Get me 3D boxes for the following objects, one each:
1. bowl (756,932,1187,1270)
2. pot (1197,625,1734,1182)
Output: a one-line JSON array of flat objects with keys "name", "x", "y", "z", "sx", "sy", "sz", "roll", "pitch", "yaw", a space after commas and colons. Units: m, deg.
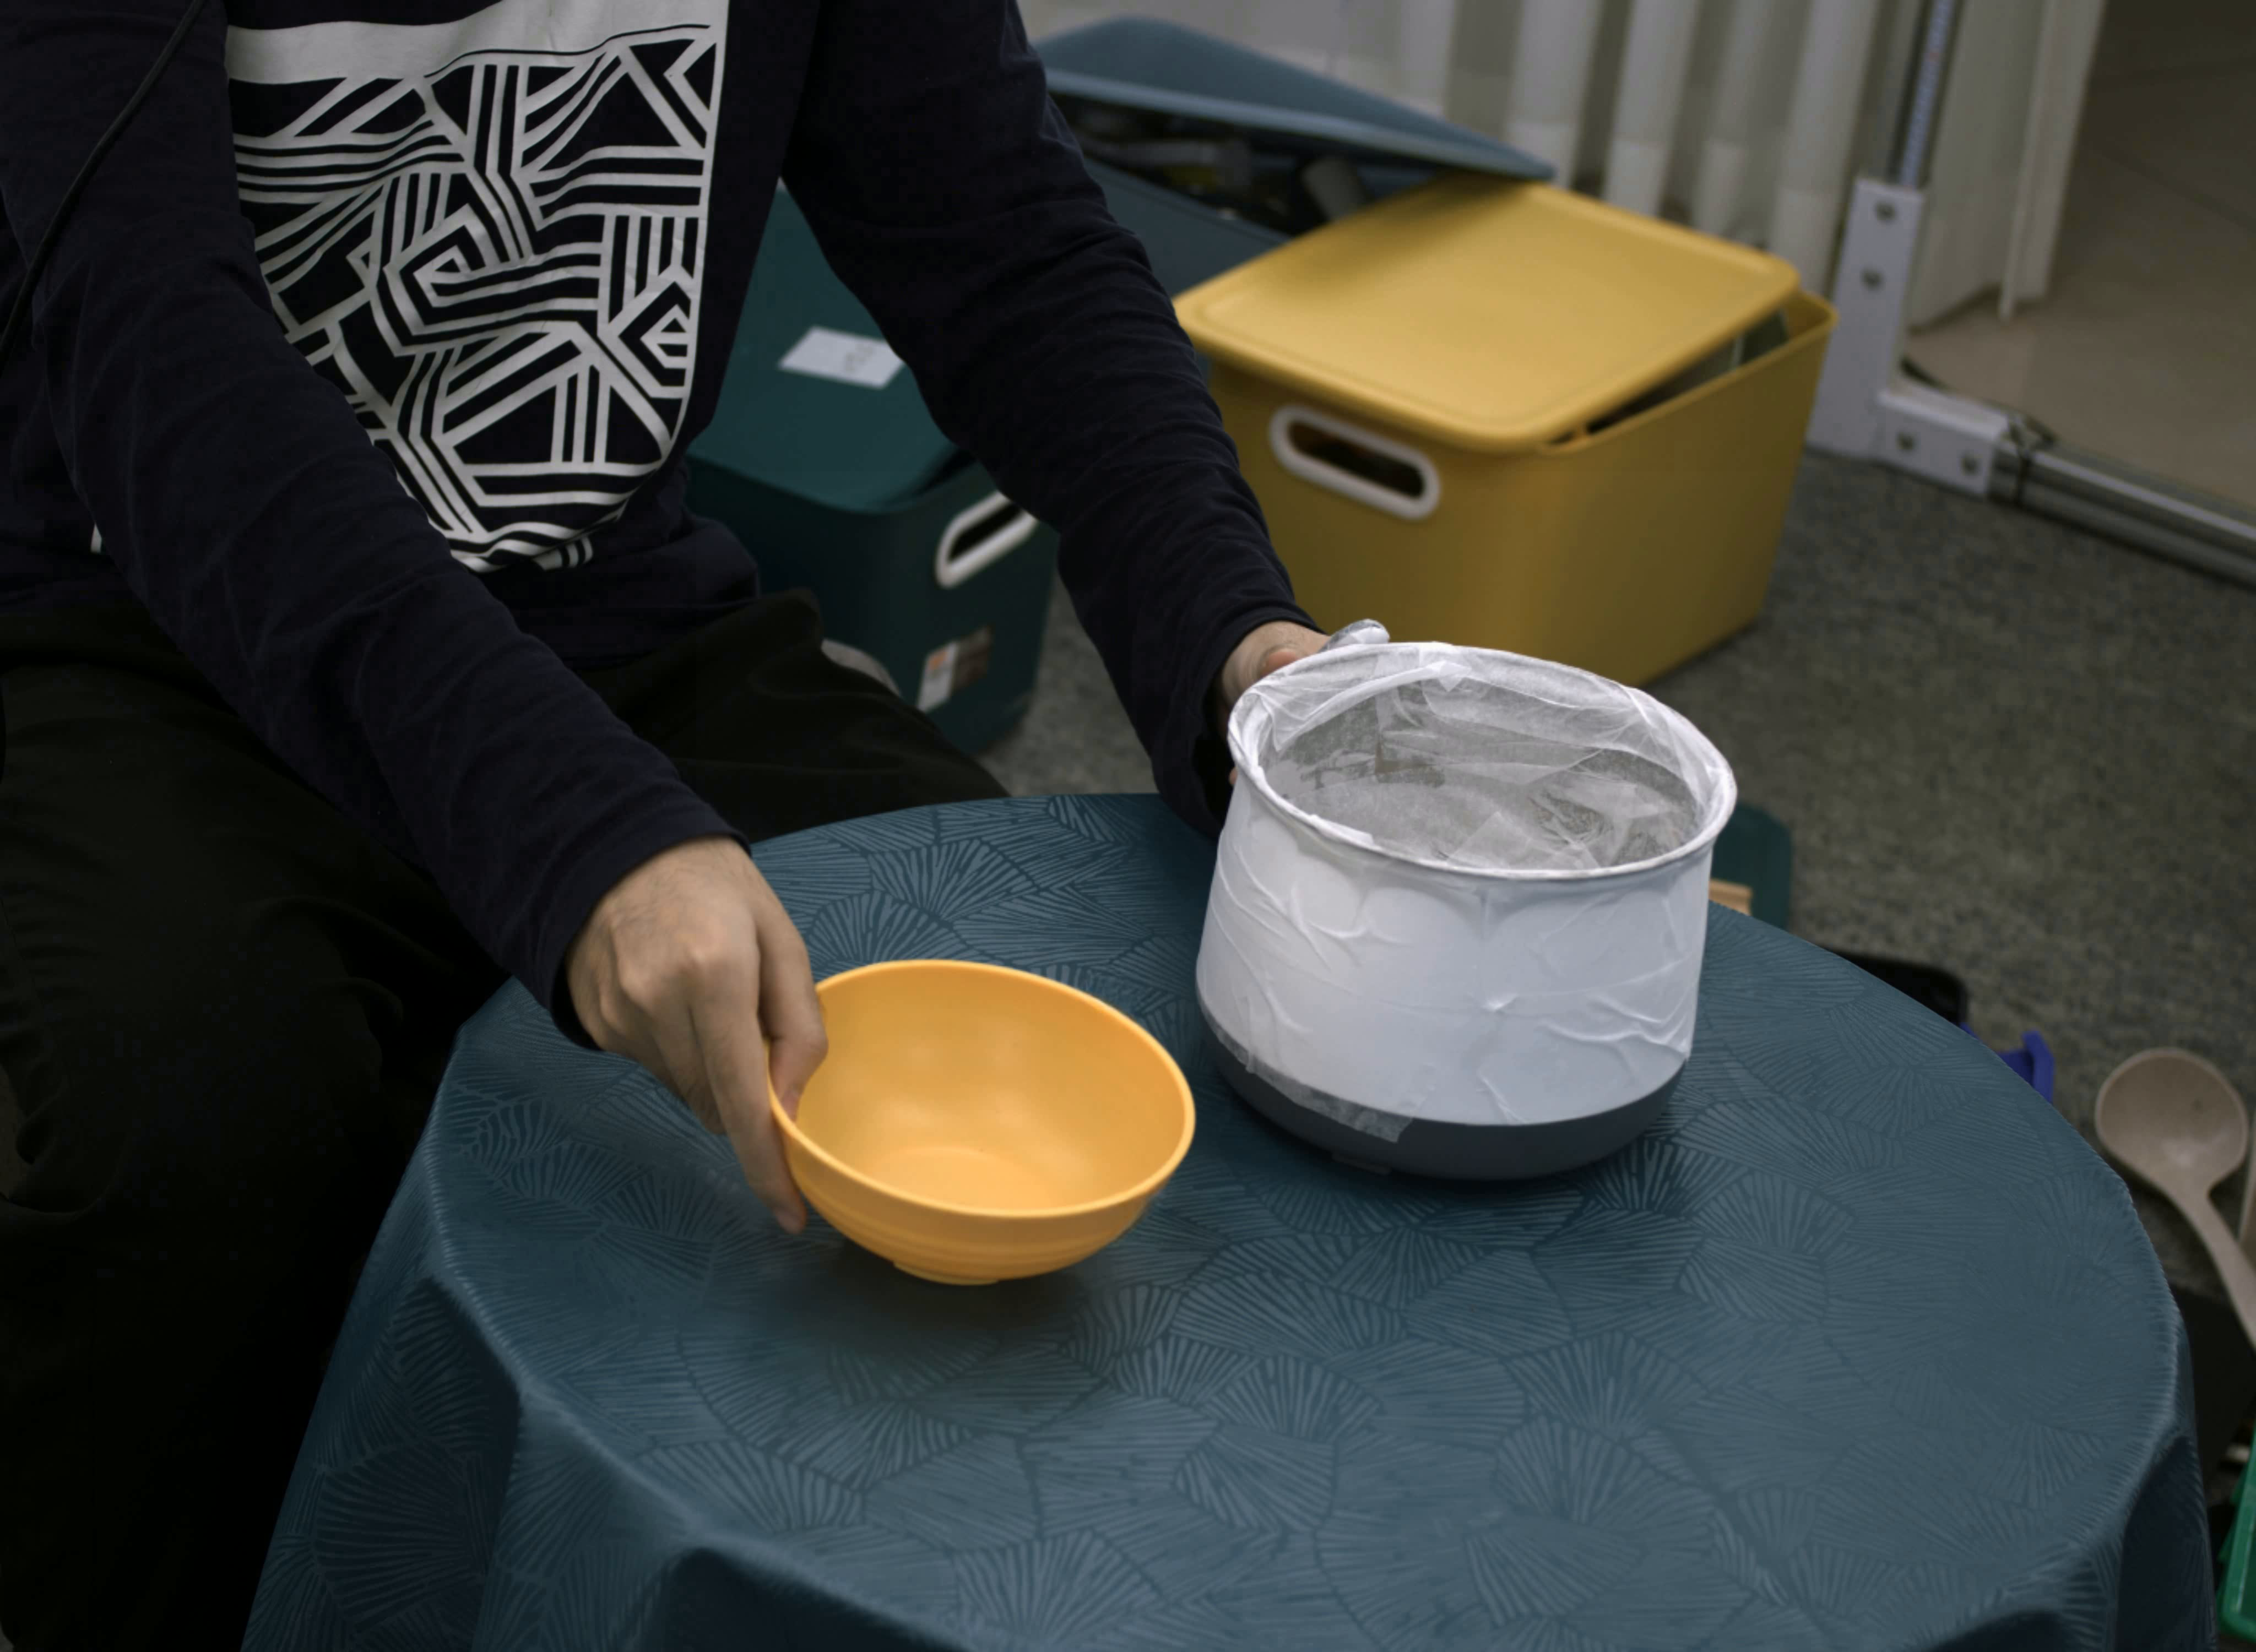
[{"name": "bowl", "x": -0.057, "y": 0.102, "z": 1.748, "sx": 0.144, "sy": 0.060, "sz": 0.146, "roll": 10, "pitch": 35, "yaw": -7}, {"name": "pot", "x": 0.105, "y": 0.021, "z": 1.886, "sx": 0.177, "sy": 0.136, "sz": 0.236, "roll": -5, "pitch": 27, "yaw": -22}]
